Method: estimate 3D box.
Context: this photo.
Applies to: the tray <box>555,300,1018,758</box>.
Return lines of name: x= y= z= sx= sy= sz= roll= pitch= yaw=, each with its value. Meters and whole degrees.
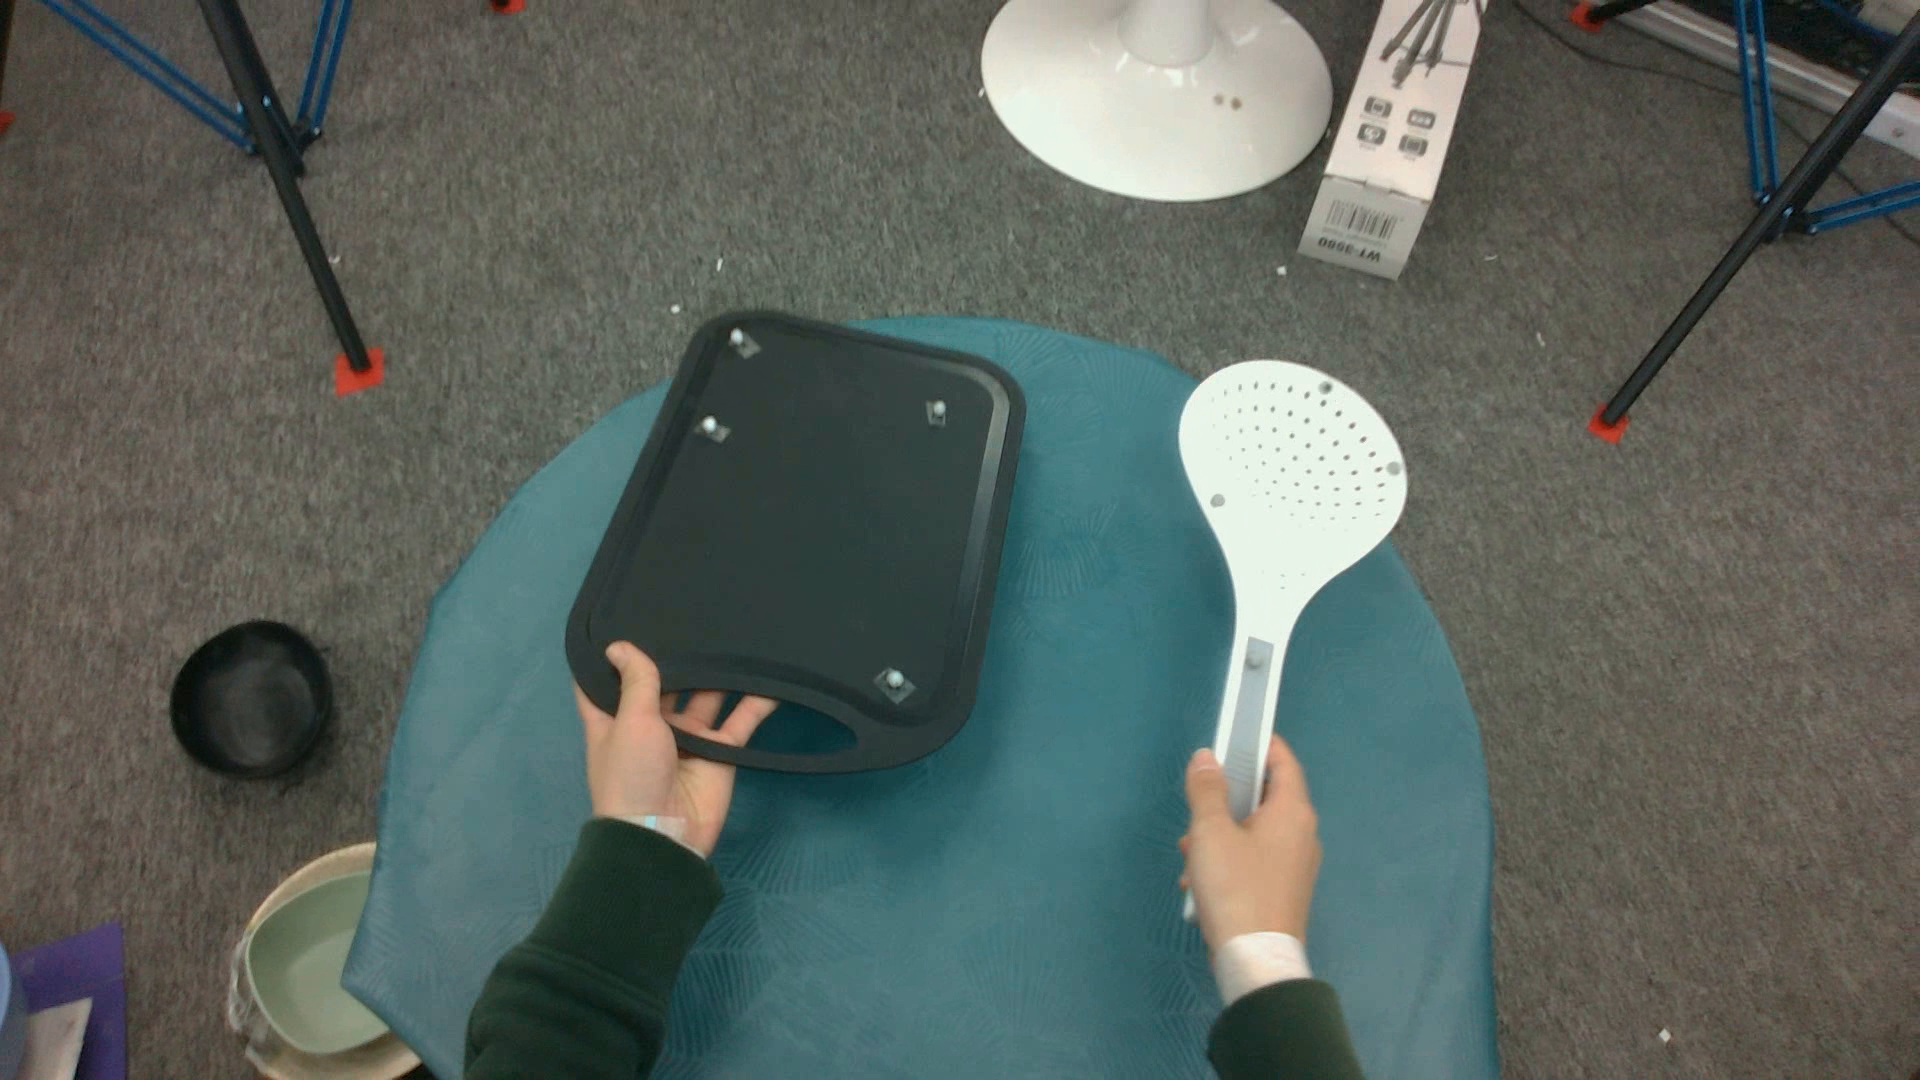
tray: x=-0.084 y=-0.021 z=0.757 sx=0.211 sy=0.010 sz=0.327 roll=12 pitch=47 yaw=-1

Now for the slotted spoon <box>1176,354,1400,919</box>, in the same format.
slotted spoon: x=0.161 y=0.035 z=0.738 sx=0.136 sy=0.045 sz=0.351 roll=18 pitch=51 yaw=-1
